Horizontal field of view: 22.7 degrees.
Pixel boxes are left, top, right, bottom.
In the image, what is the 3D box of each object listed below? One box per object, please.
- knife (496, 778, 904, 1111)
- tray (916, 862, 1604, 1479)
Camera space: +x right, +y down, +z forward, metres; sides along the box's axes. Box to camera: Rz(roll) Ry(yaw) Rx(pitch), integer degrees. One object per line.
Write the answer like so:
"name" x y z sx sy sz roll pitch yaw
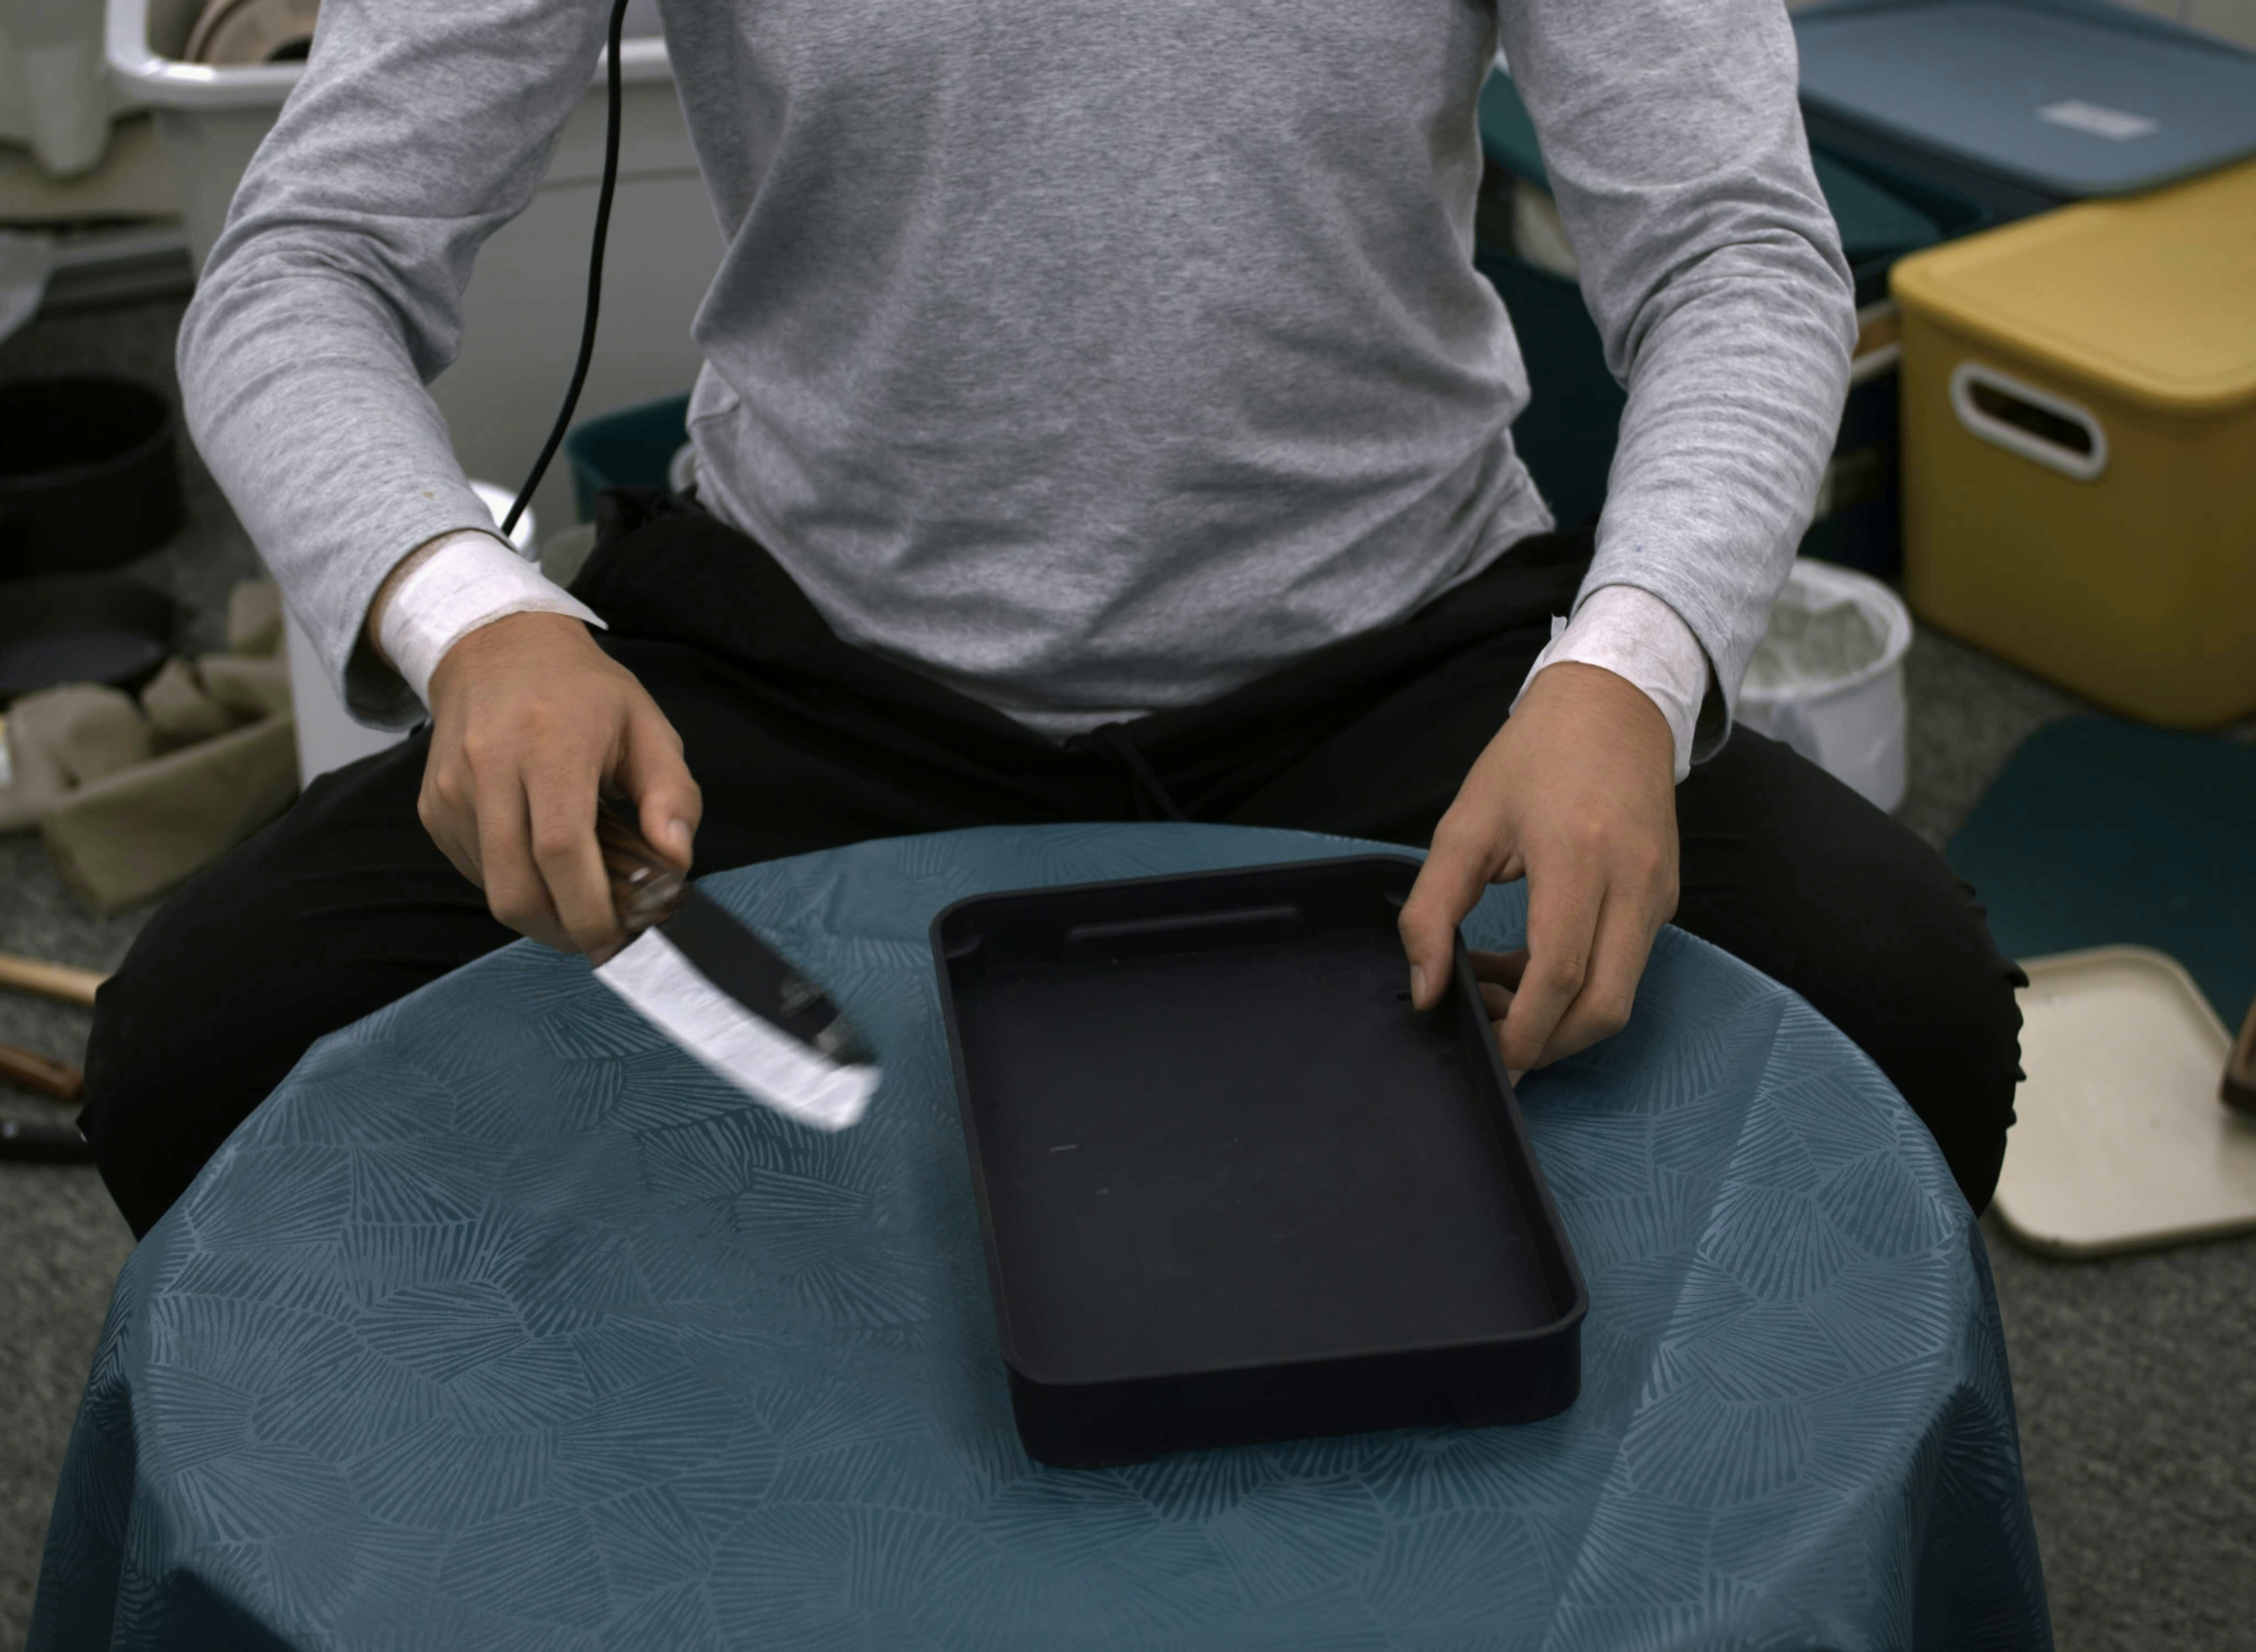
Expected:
"knife" -0.139 0.037 1.798 0.050 0.020 0.290 -39 32 -11
"tray" 0.037 0.107 1.849 0.184 0.036 0.322 -6 27 -6
